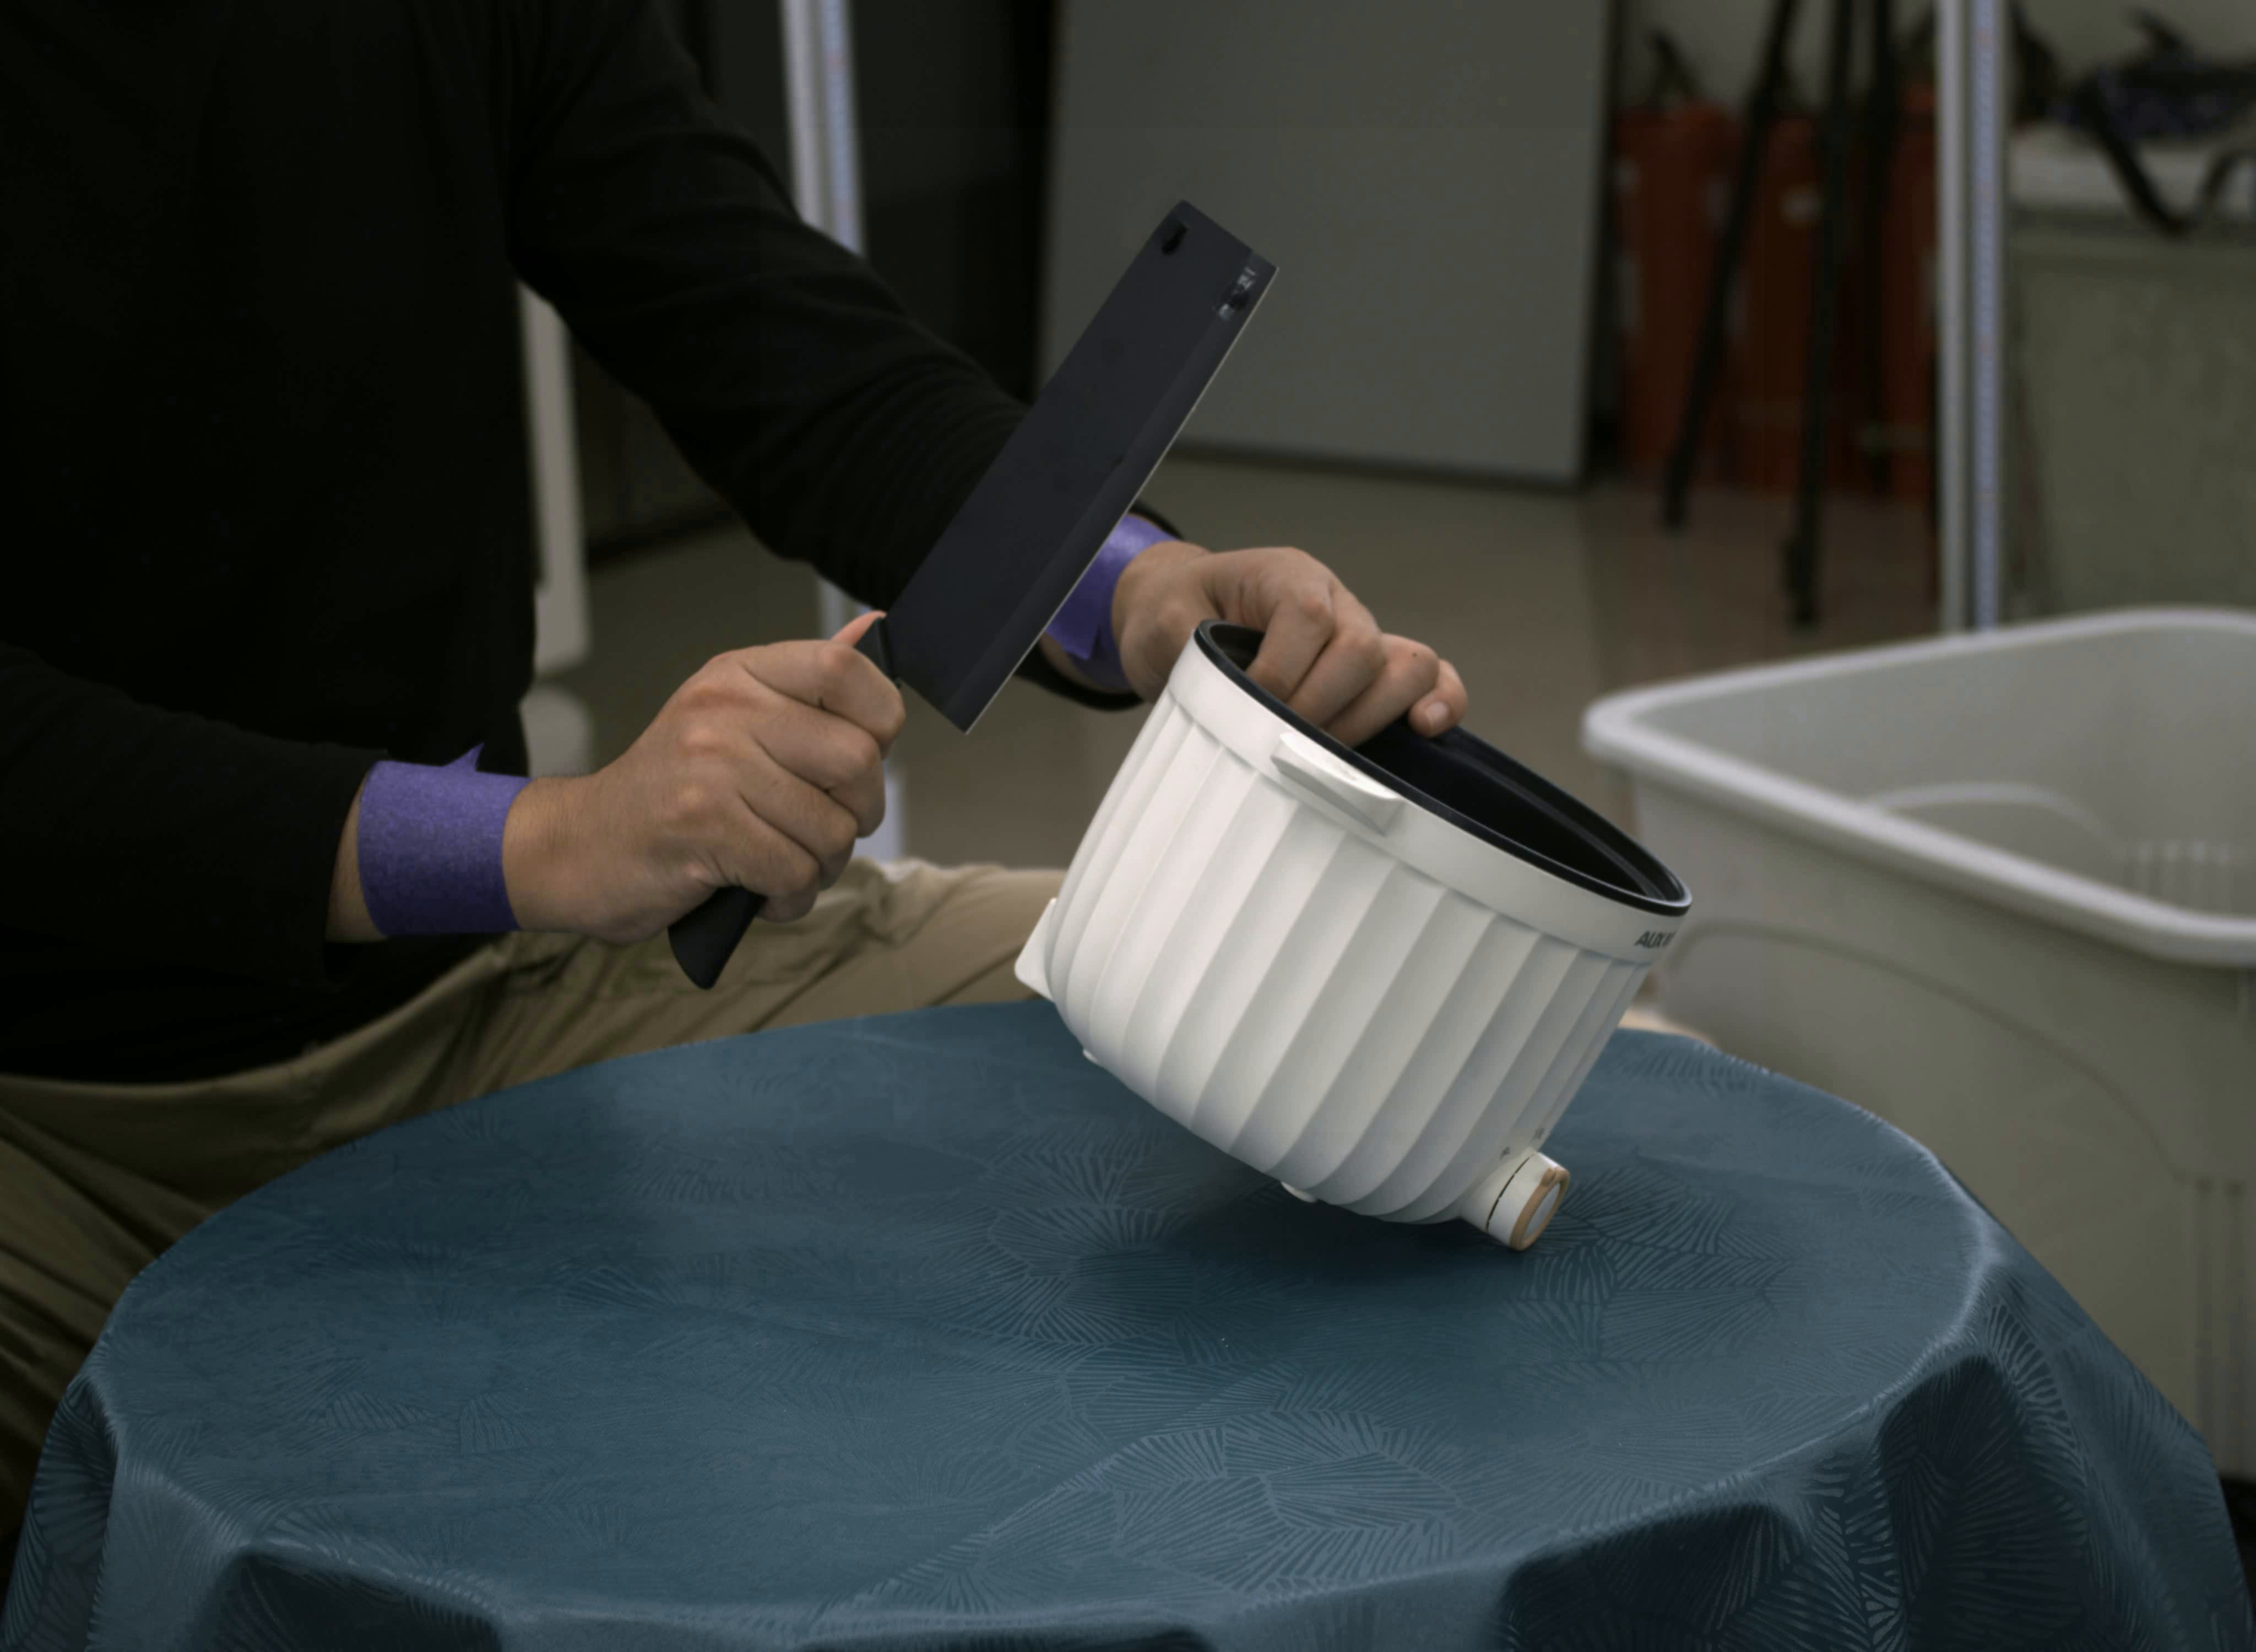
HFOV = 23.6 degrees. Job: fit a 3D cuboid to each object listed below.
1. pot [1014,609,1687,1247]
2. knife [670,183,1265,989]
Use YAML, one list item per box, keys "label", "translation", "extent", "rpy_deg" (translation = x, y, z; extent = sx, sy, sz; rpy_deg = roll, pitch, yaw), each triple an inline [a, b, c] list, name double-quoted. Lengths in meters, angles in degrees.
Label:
- label: "pot"
  translation: [0.073, 0.037, 1.712]
  extent: [0.191, 0.144, 0.237]
  rpy_deg: [29, 10, 19]
- label: "knife"
  translation: [-0.055, -0.073, 1.744]
  extent: [0.020, 0.304, 0.082]
  rpy_deg: [27, 15, -41]
